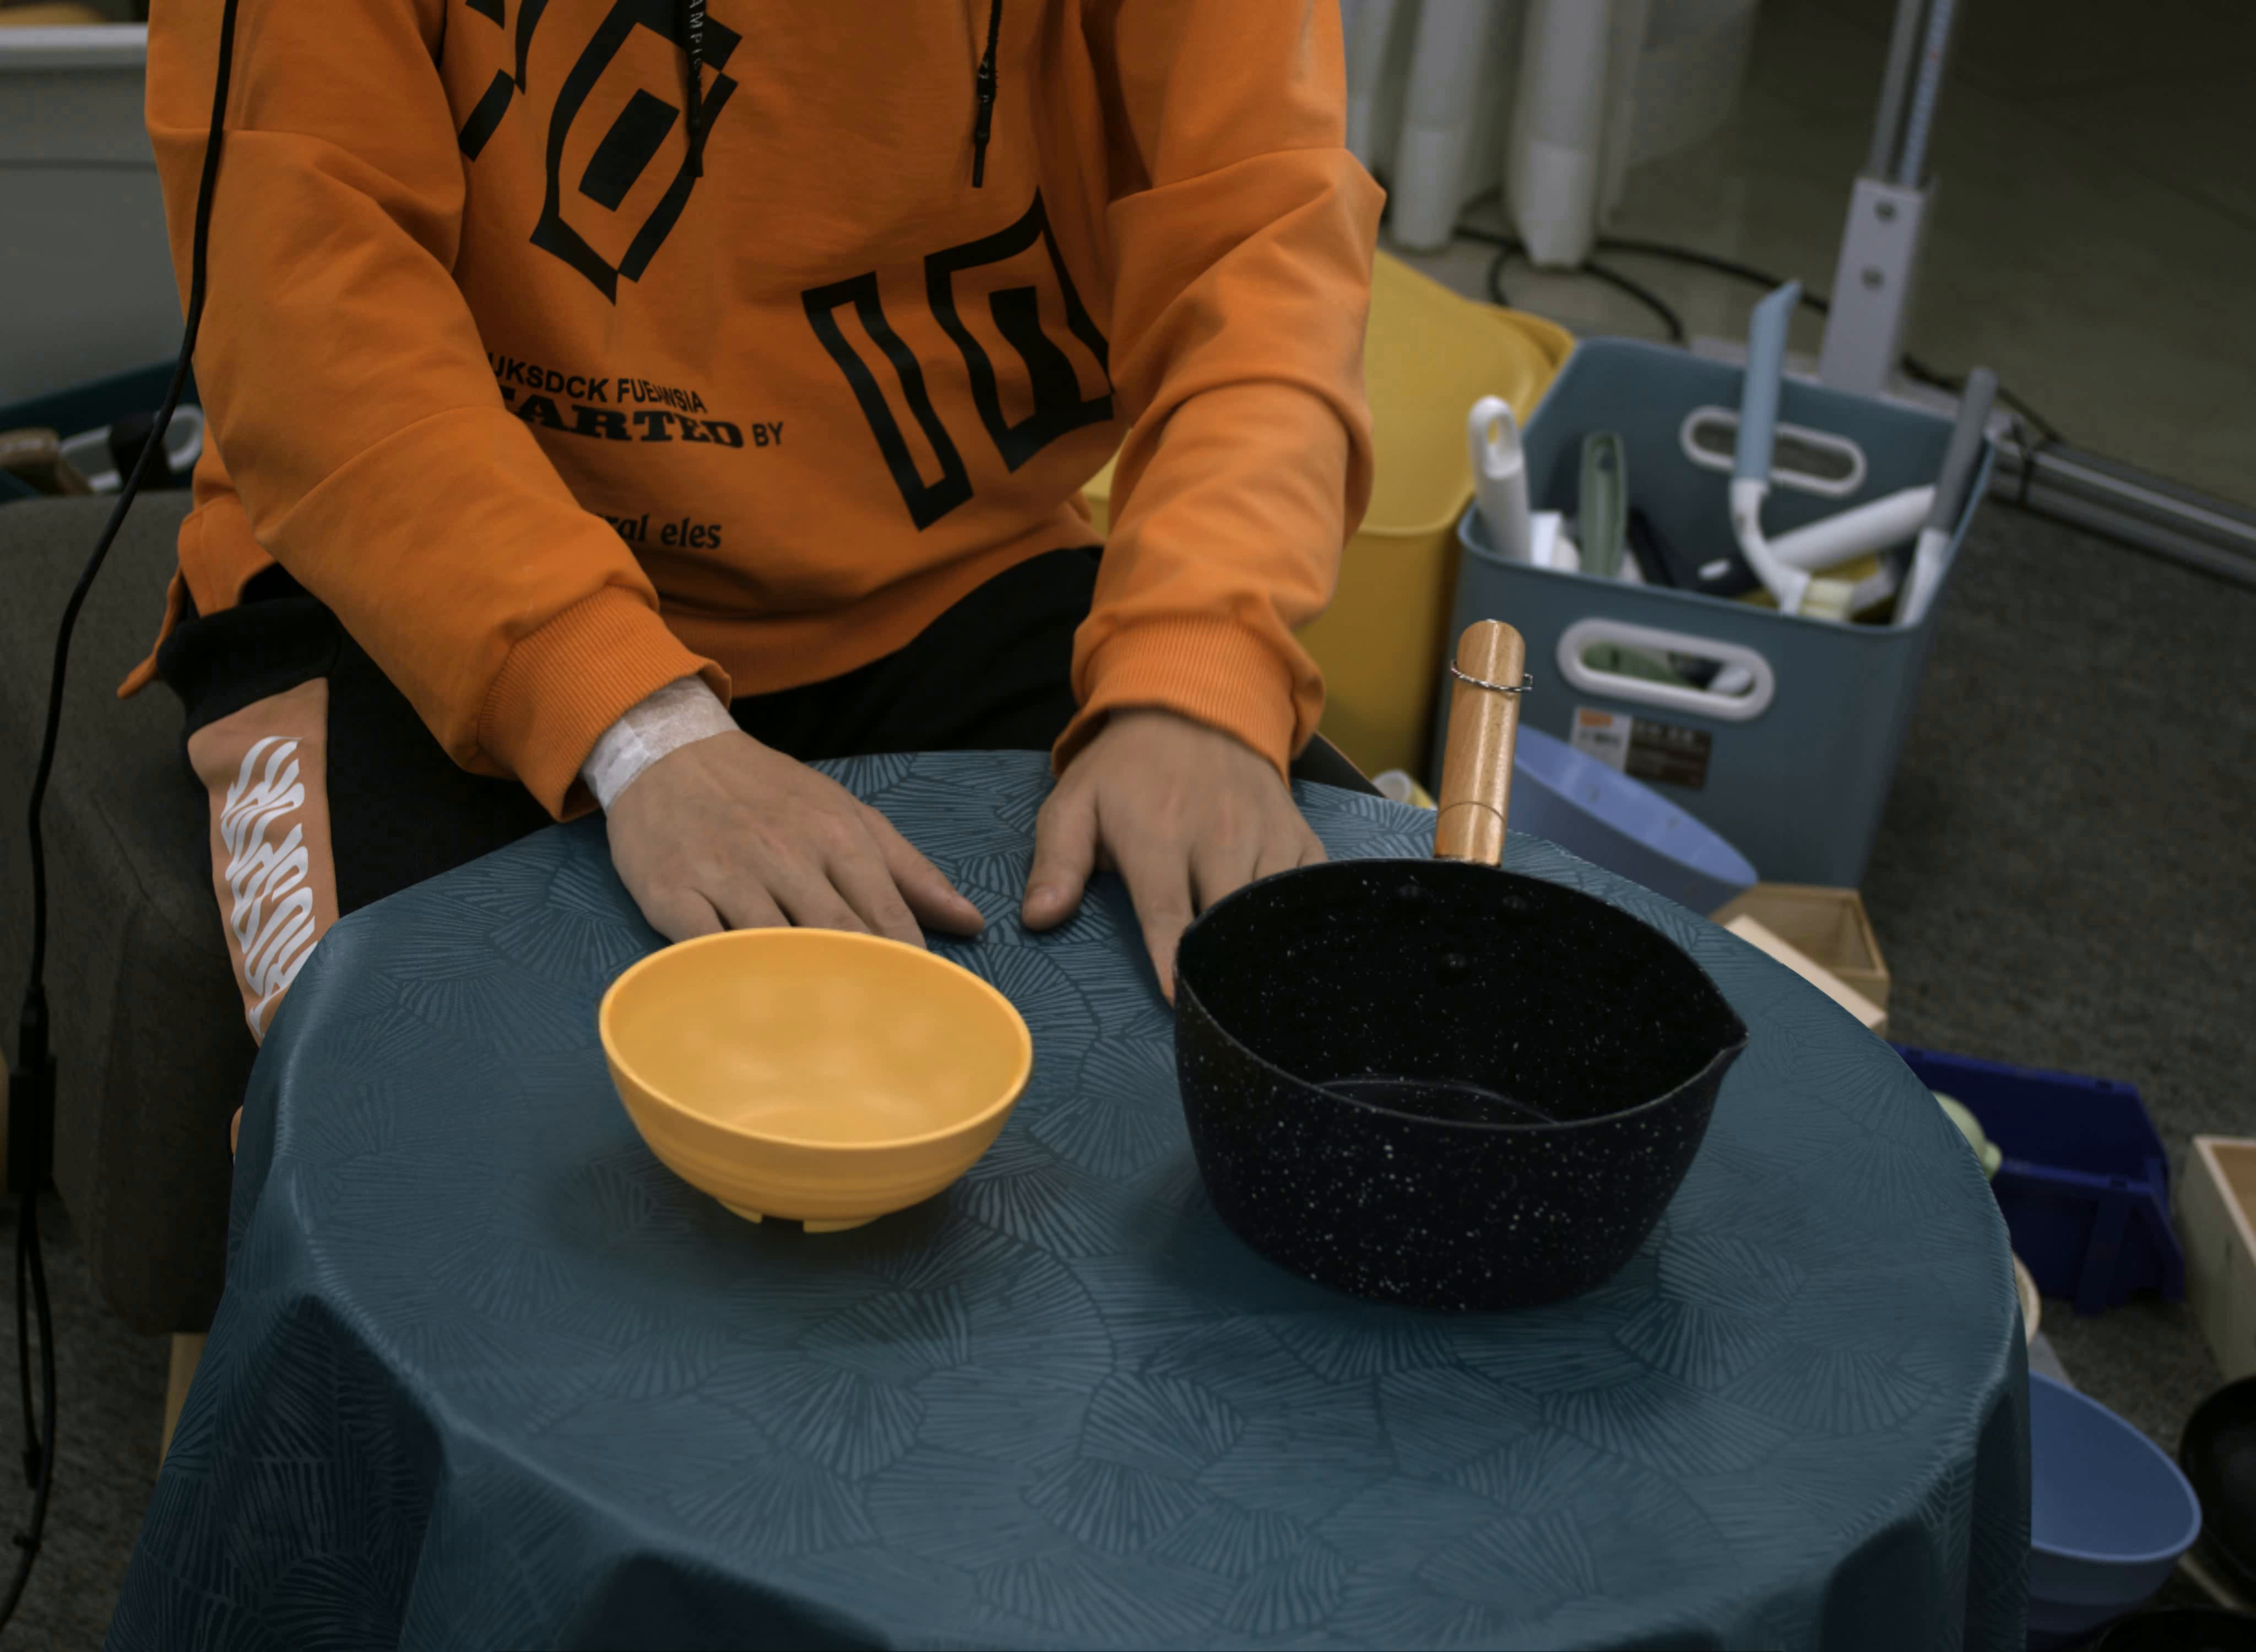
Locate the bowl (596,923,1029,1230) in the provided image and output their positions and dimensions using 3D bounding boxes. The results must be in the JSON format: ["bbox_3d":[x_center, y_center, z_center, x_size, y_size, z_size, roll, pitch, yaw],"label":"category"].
[{"bbox_3d":[-0.108,0.093,1.774,0.145,0.060,0.146,7,27,-4],"label":"bowl"}]

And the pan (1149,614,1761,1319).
[{"bbox_3d":[0.114,0.045,1.864,0.207,0.108,0.344,6,28,3],"label":"pan"}]
